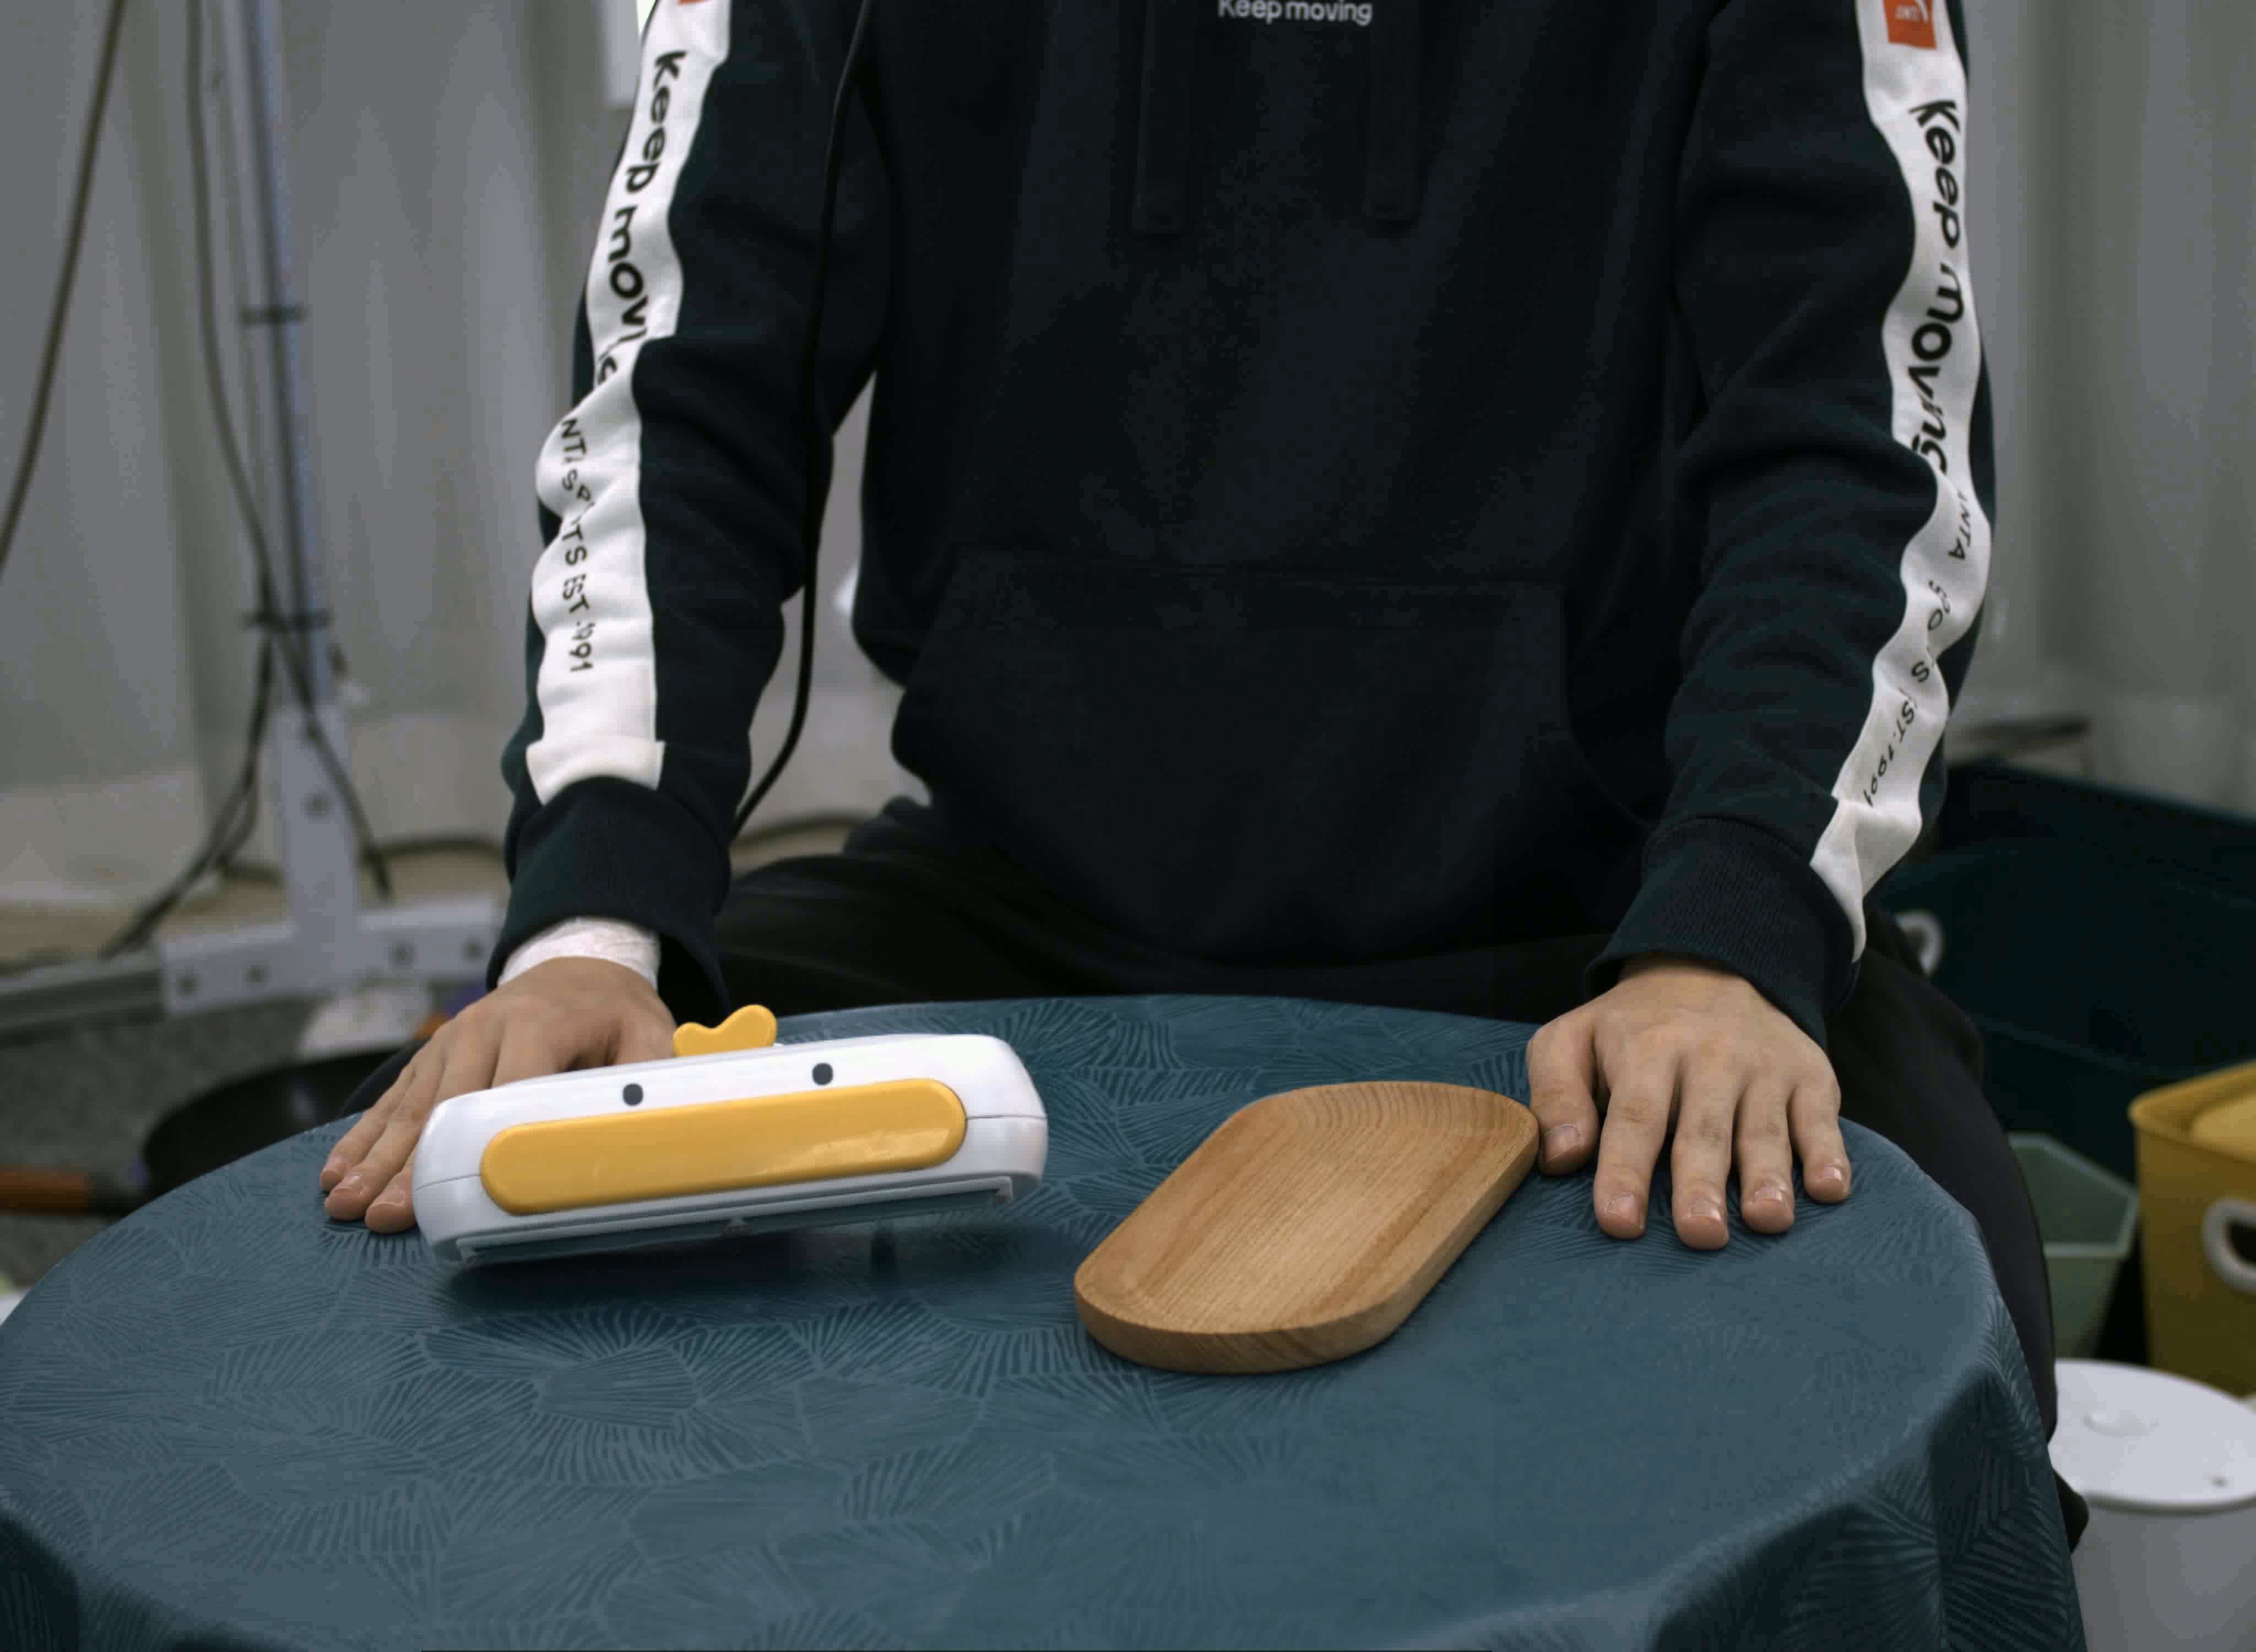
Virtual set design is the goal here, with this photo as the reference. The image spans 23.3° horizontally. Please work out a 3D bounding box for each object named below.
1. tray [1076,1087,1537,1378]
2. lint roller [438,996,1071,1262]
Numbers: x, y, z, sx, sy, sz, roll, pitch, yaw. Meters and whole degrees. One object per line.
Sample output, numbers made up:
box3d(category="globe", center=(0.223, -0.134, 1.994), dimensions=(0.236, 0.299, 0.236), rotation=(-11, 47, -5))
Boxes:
box3d(category="tray", center=(0.057, 0.121, 1.649), dimensions=(0.101, 0.020, 0.232), rotation=(1, 17, 19))
box3d(category="lint roller", center=(-0.120, 0.095, 1.719), dimensions=(0.192, 0.074, 0.192), rotation=(-11, -4, -6))
